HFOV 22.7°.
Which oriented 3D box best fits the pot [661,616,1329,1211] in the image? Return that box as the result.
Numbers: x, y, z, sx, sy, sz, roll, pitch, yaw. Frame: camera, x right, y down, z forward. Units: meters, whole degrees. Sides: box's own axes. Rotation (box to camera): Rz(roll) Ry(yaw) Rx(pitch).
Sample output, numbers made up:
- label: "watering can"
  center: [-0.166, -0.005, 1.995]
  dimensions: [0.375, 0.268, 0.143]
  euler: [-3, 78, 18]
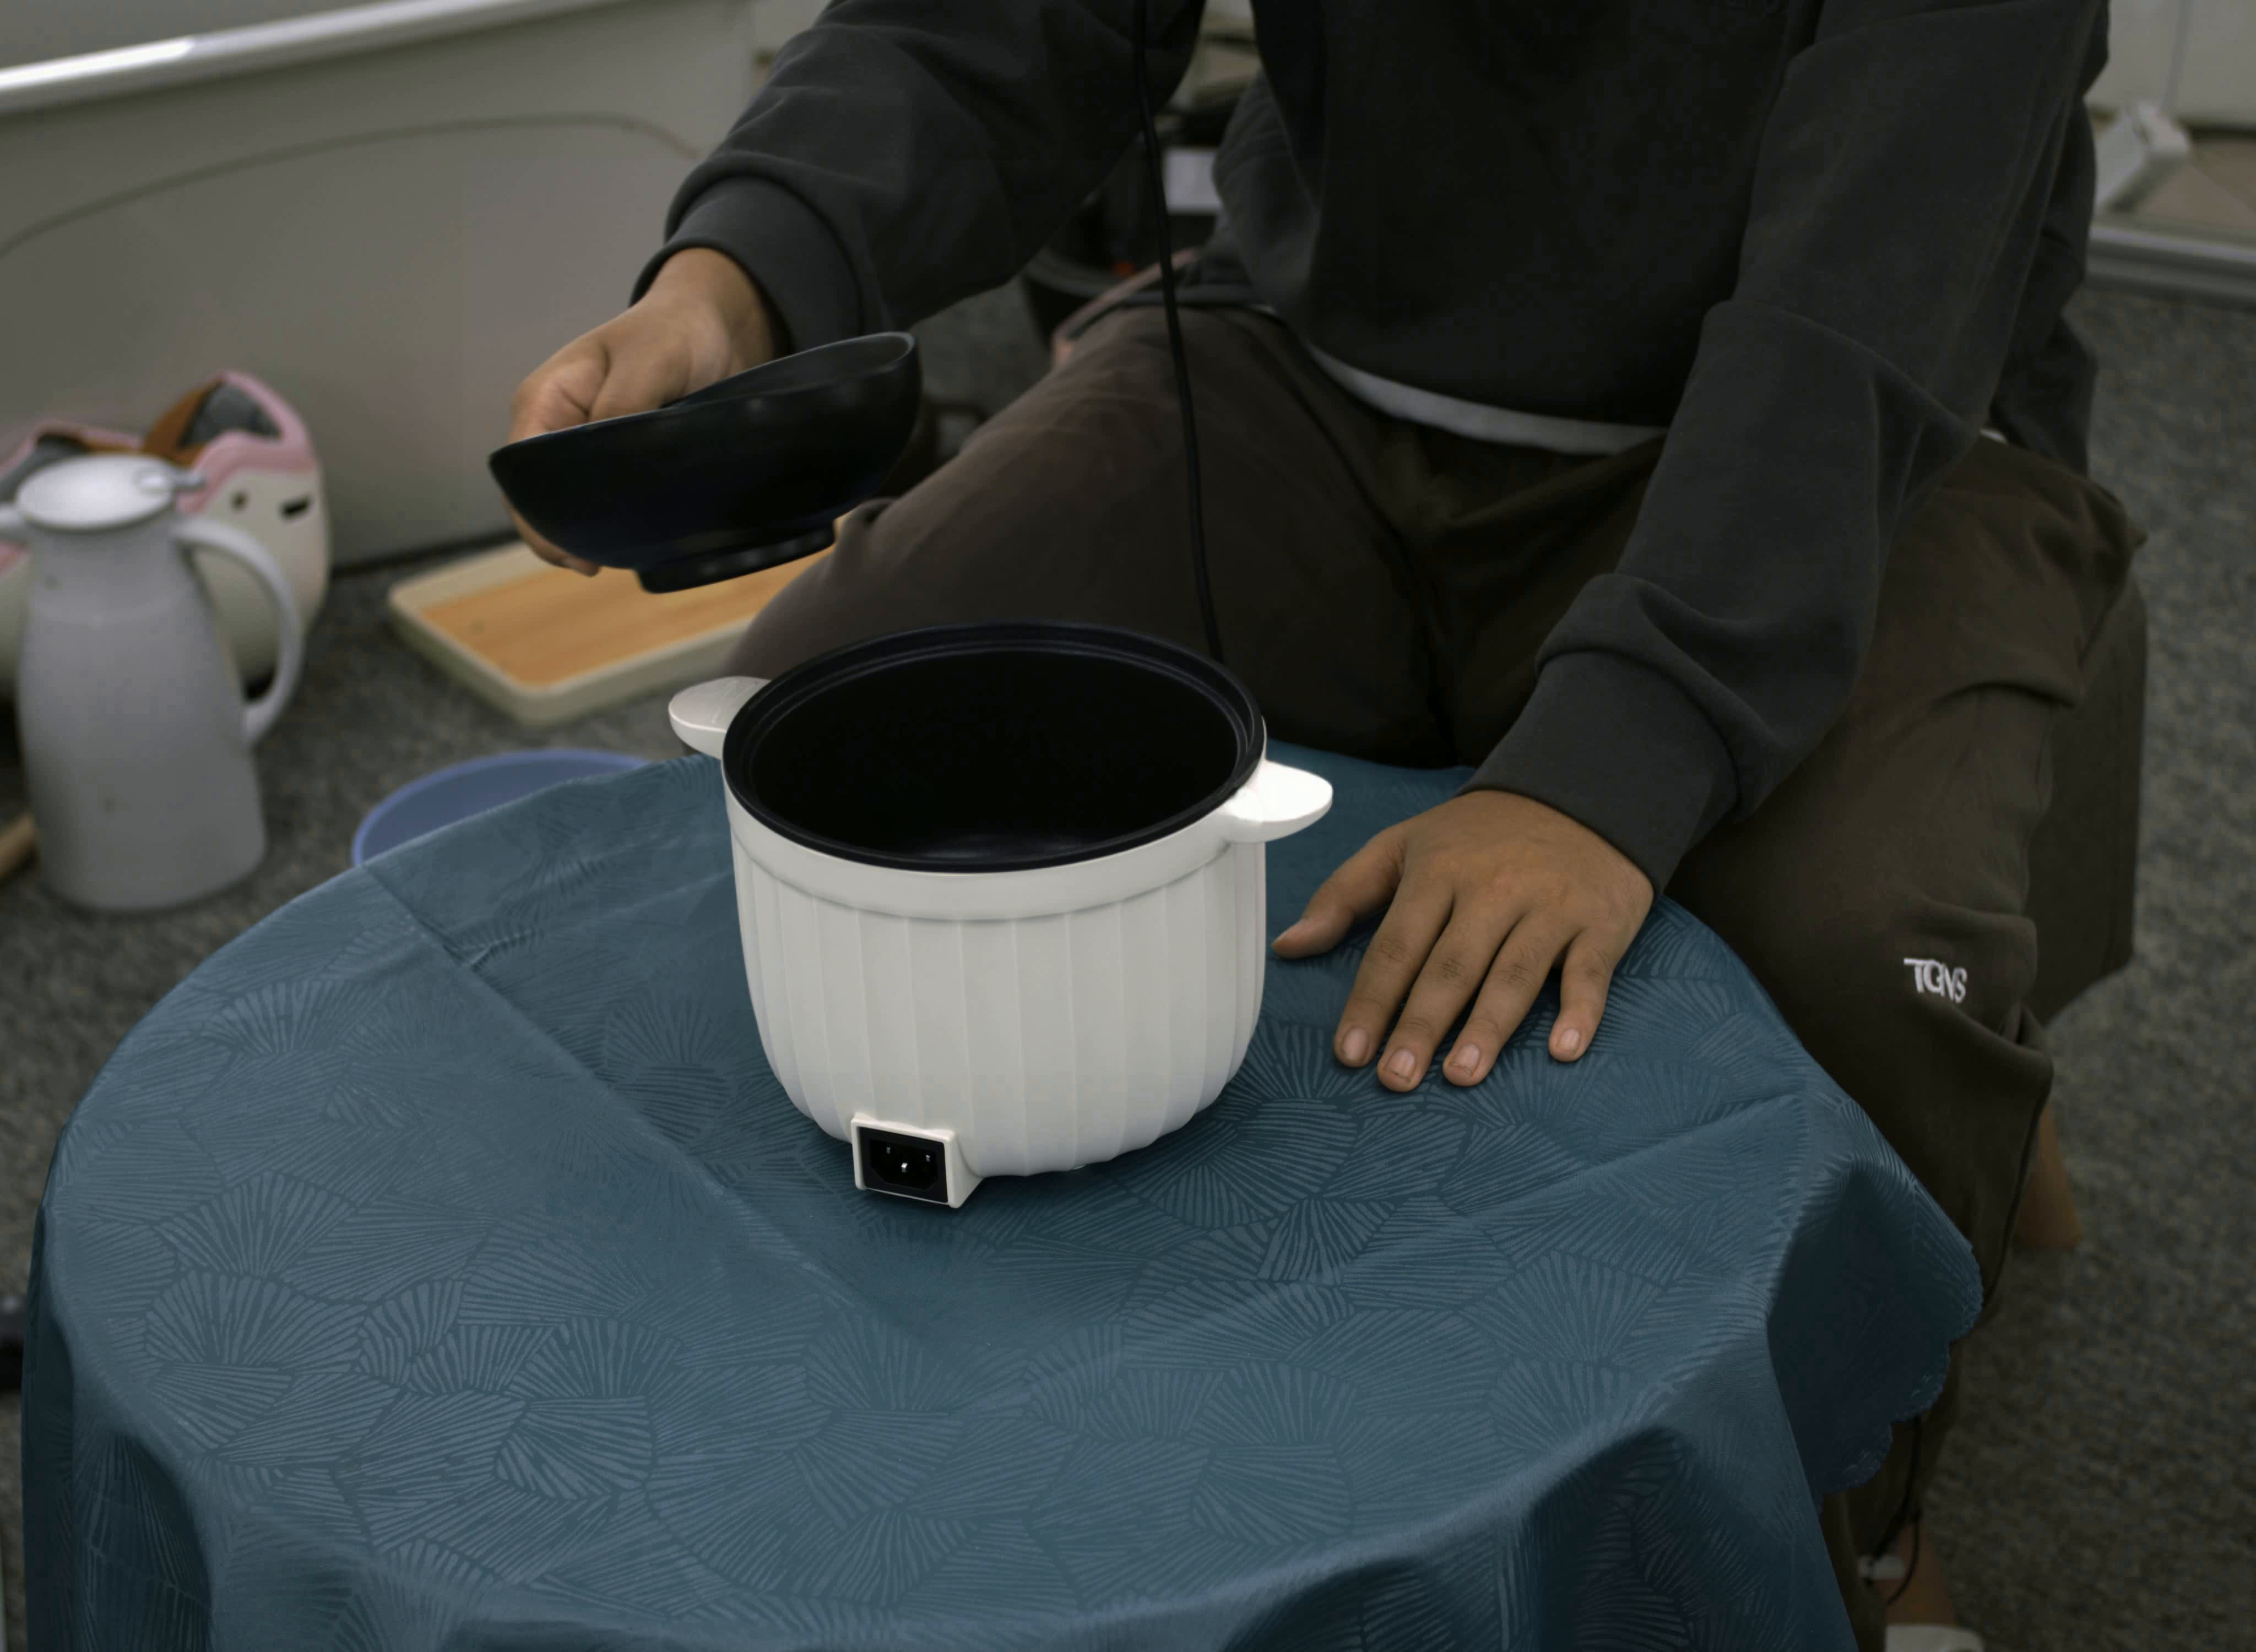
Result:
- label: "pot"
  center: [-0.042, 0.026, 1.905]
  dimensions: [0.239, 0.141, 0.194]
  euler: [10, 32, 20]

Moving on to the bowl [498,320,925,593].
- label: "bowl"
  center: [-0.137, -0.119, 1.910]
  dimensions: [0.168, 0.067, 0.139]
  euler: [-10, 9, 42]
